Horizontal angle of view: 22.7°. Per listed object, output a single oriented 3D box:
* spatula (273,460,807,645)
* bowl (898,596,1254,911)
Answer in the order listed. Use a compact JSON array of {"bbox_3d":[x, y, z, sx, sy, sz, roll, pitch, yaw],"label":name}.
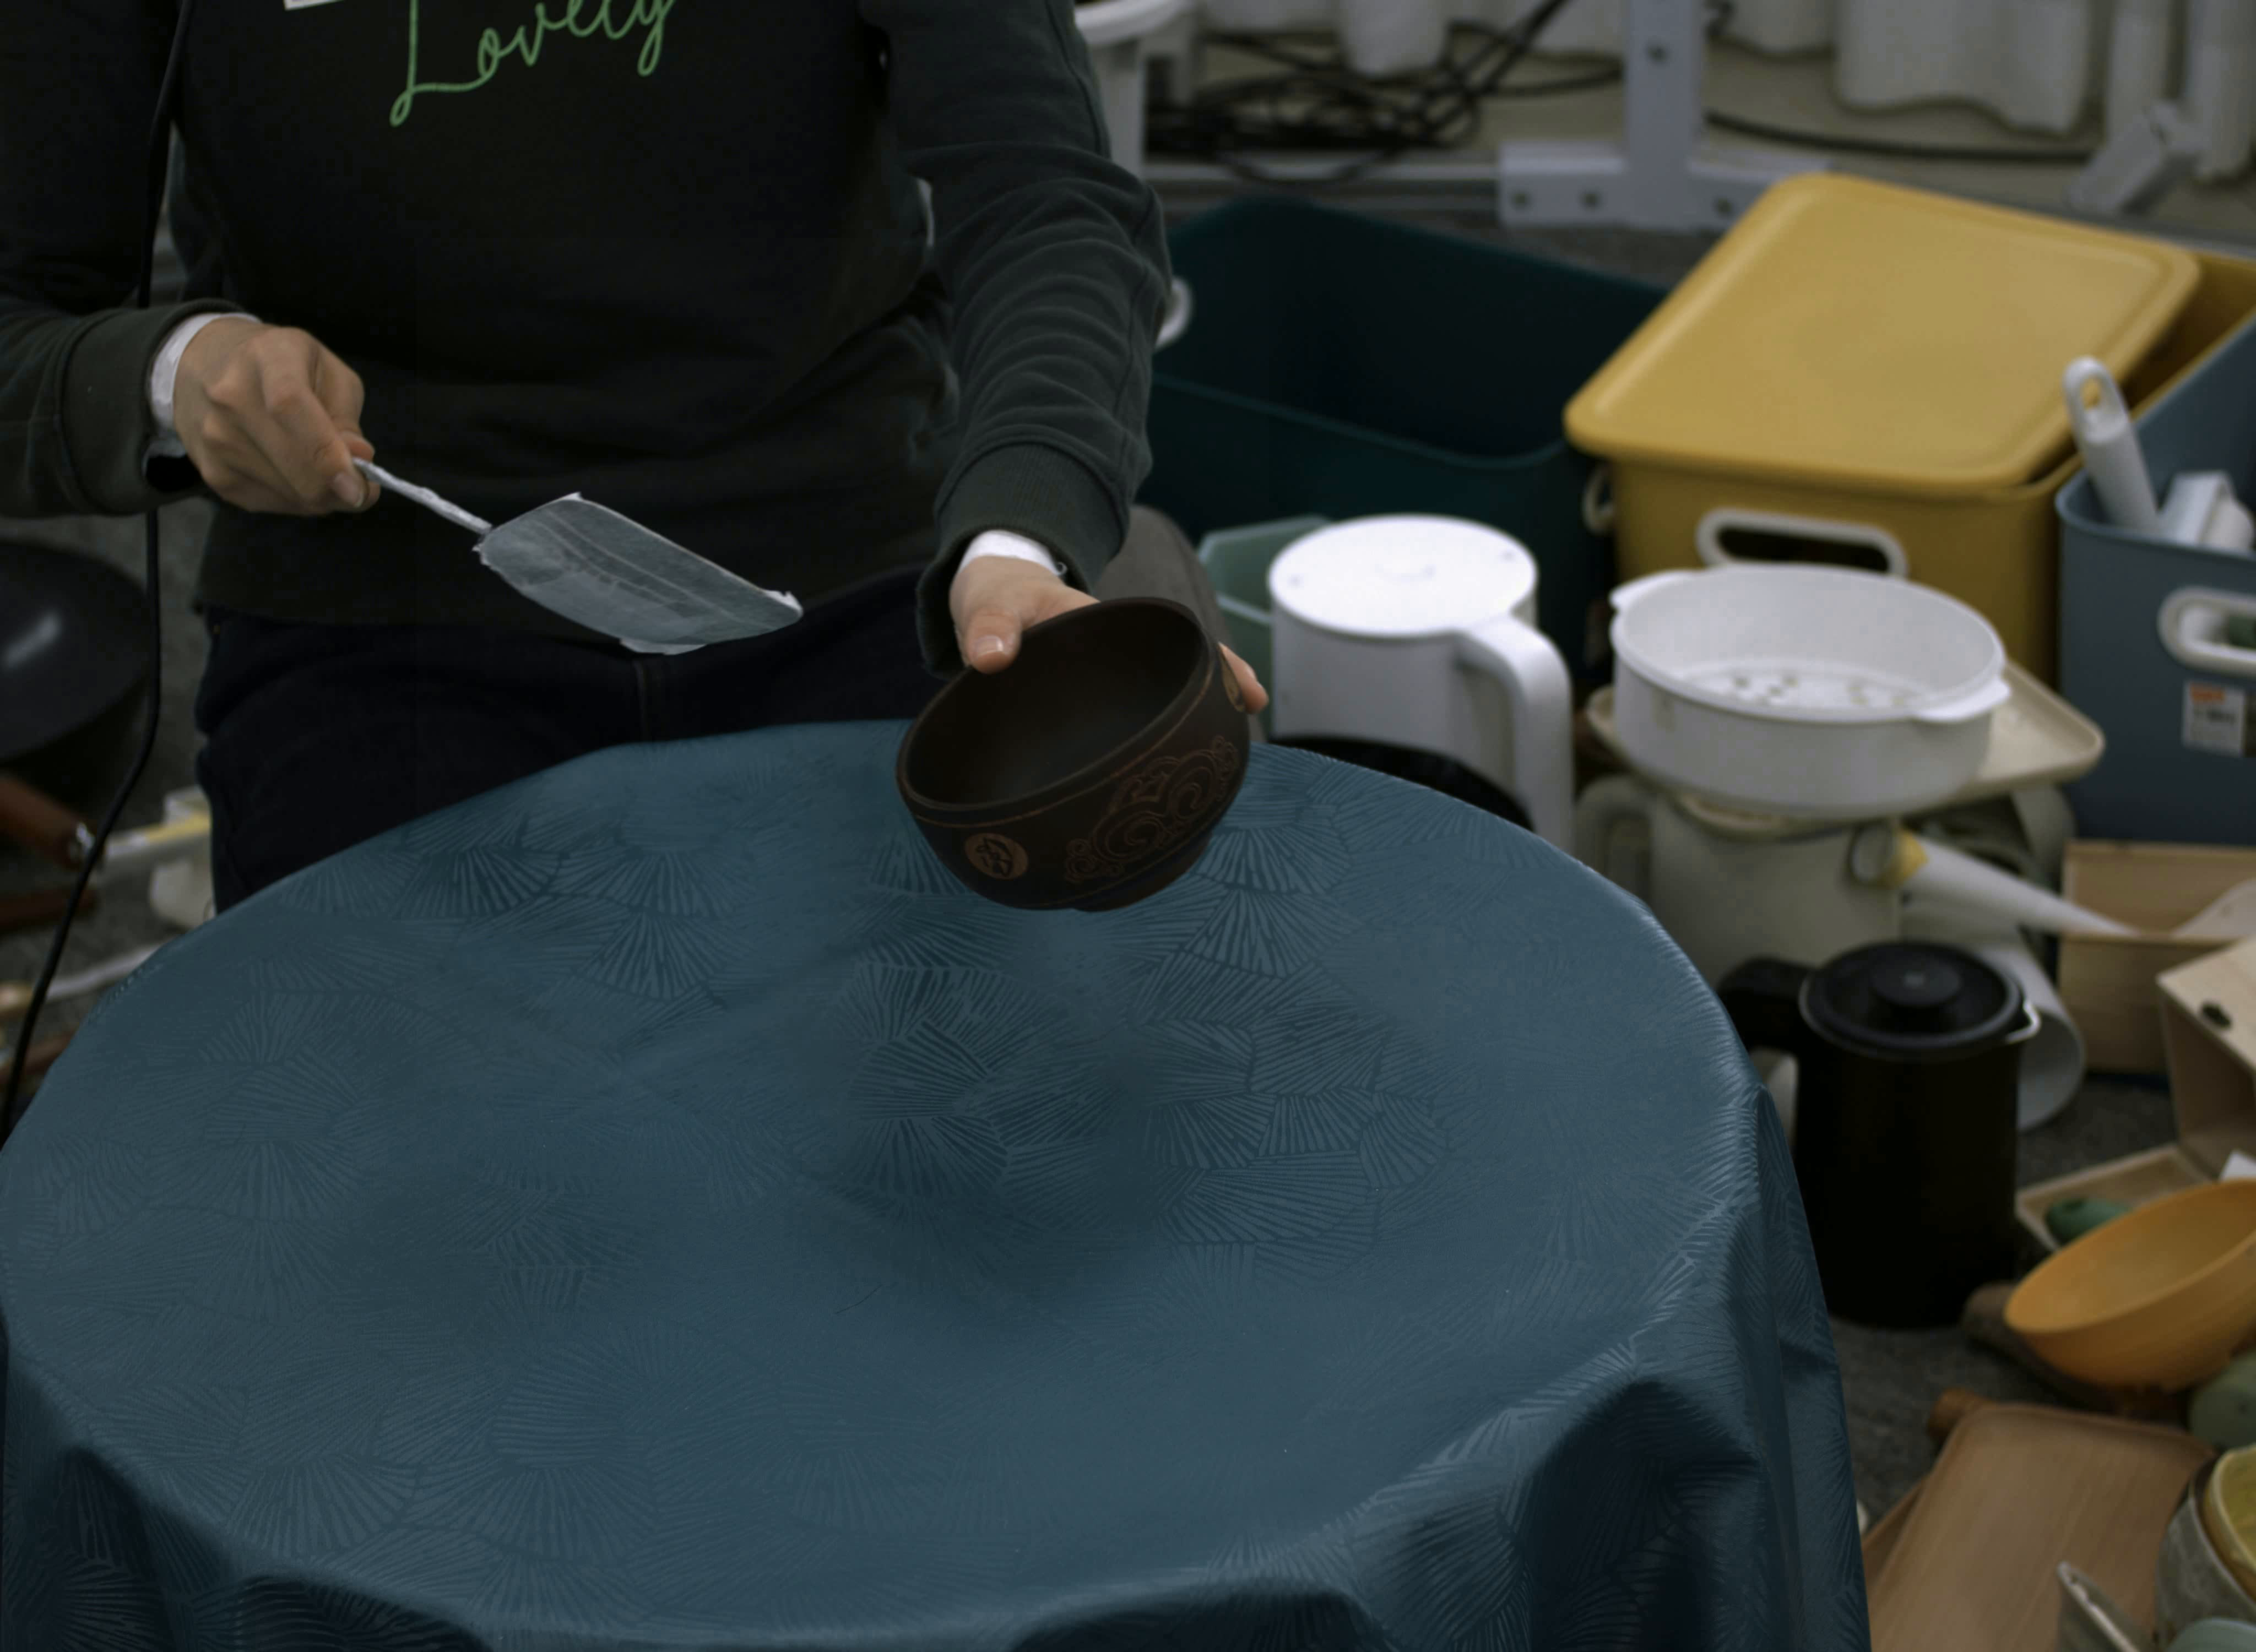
[{"bbox_3d":[-0.227,-0.108,1.962,0.098,0.045,0.365,26,-1,-31],"label":"spatula"},{"bbox_3d":[-0.011,-0.016,1.876,0.117,0.069,0.120,-21,26,11],"label":"bowl"}]
